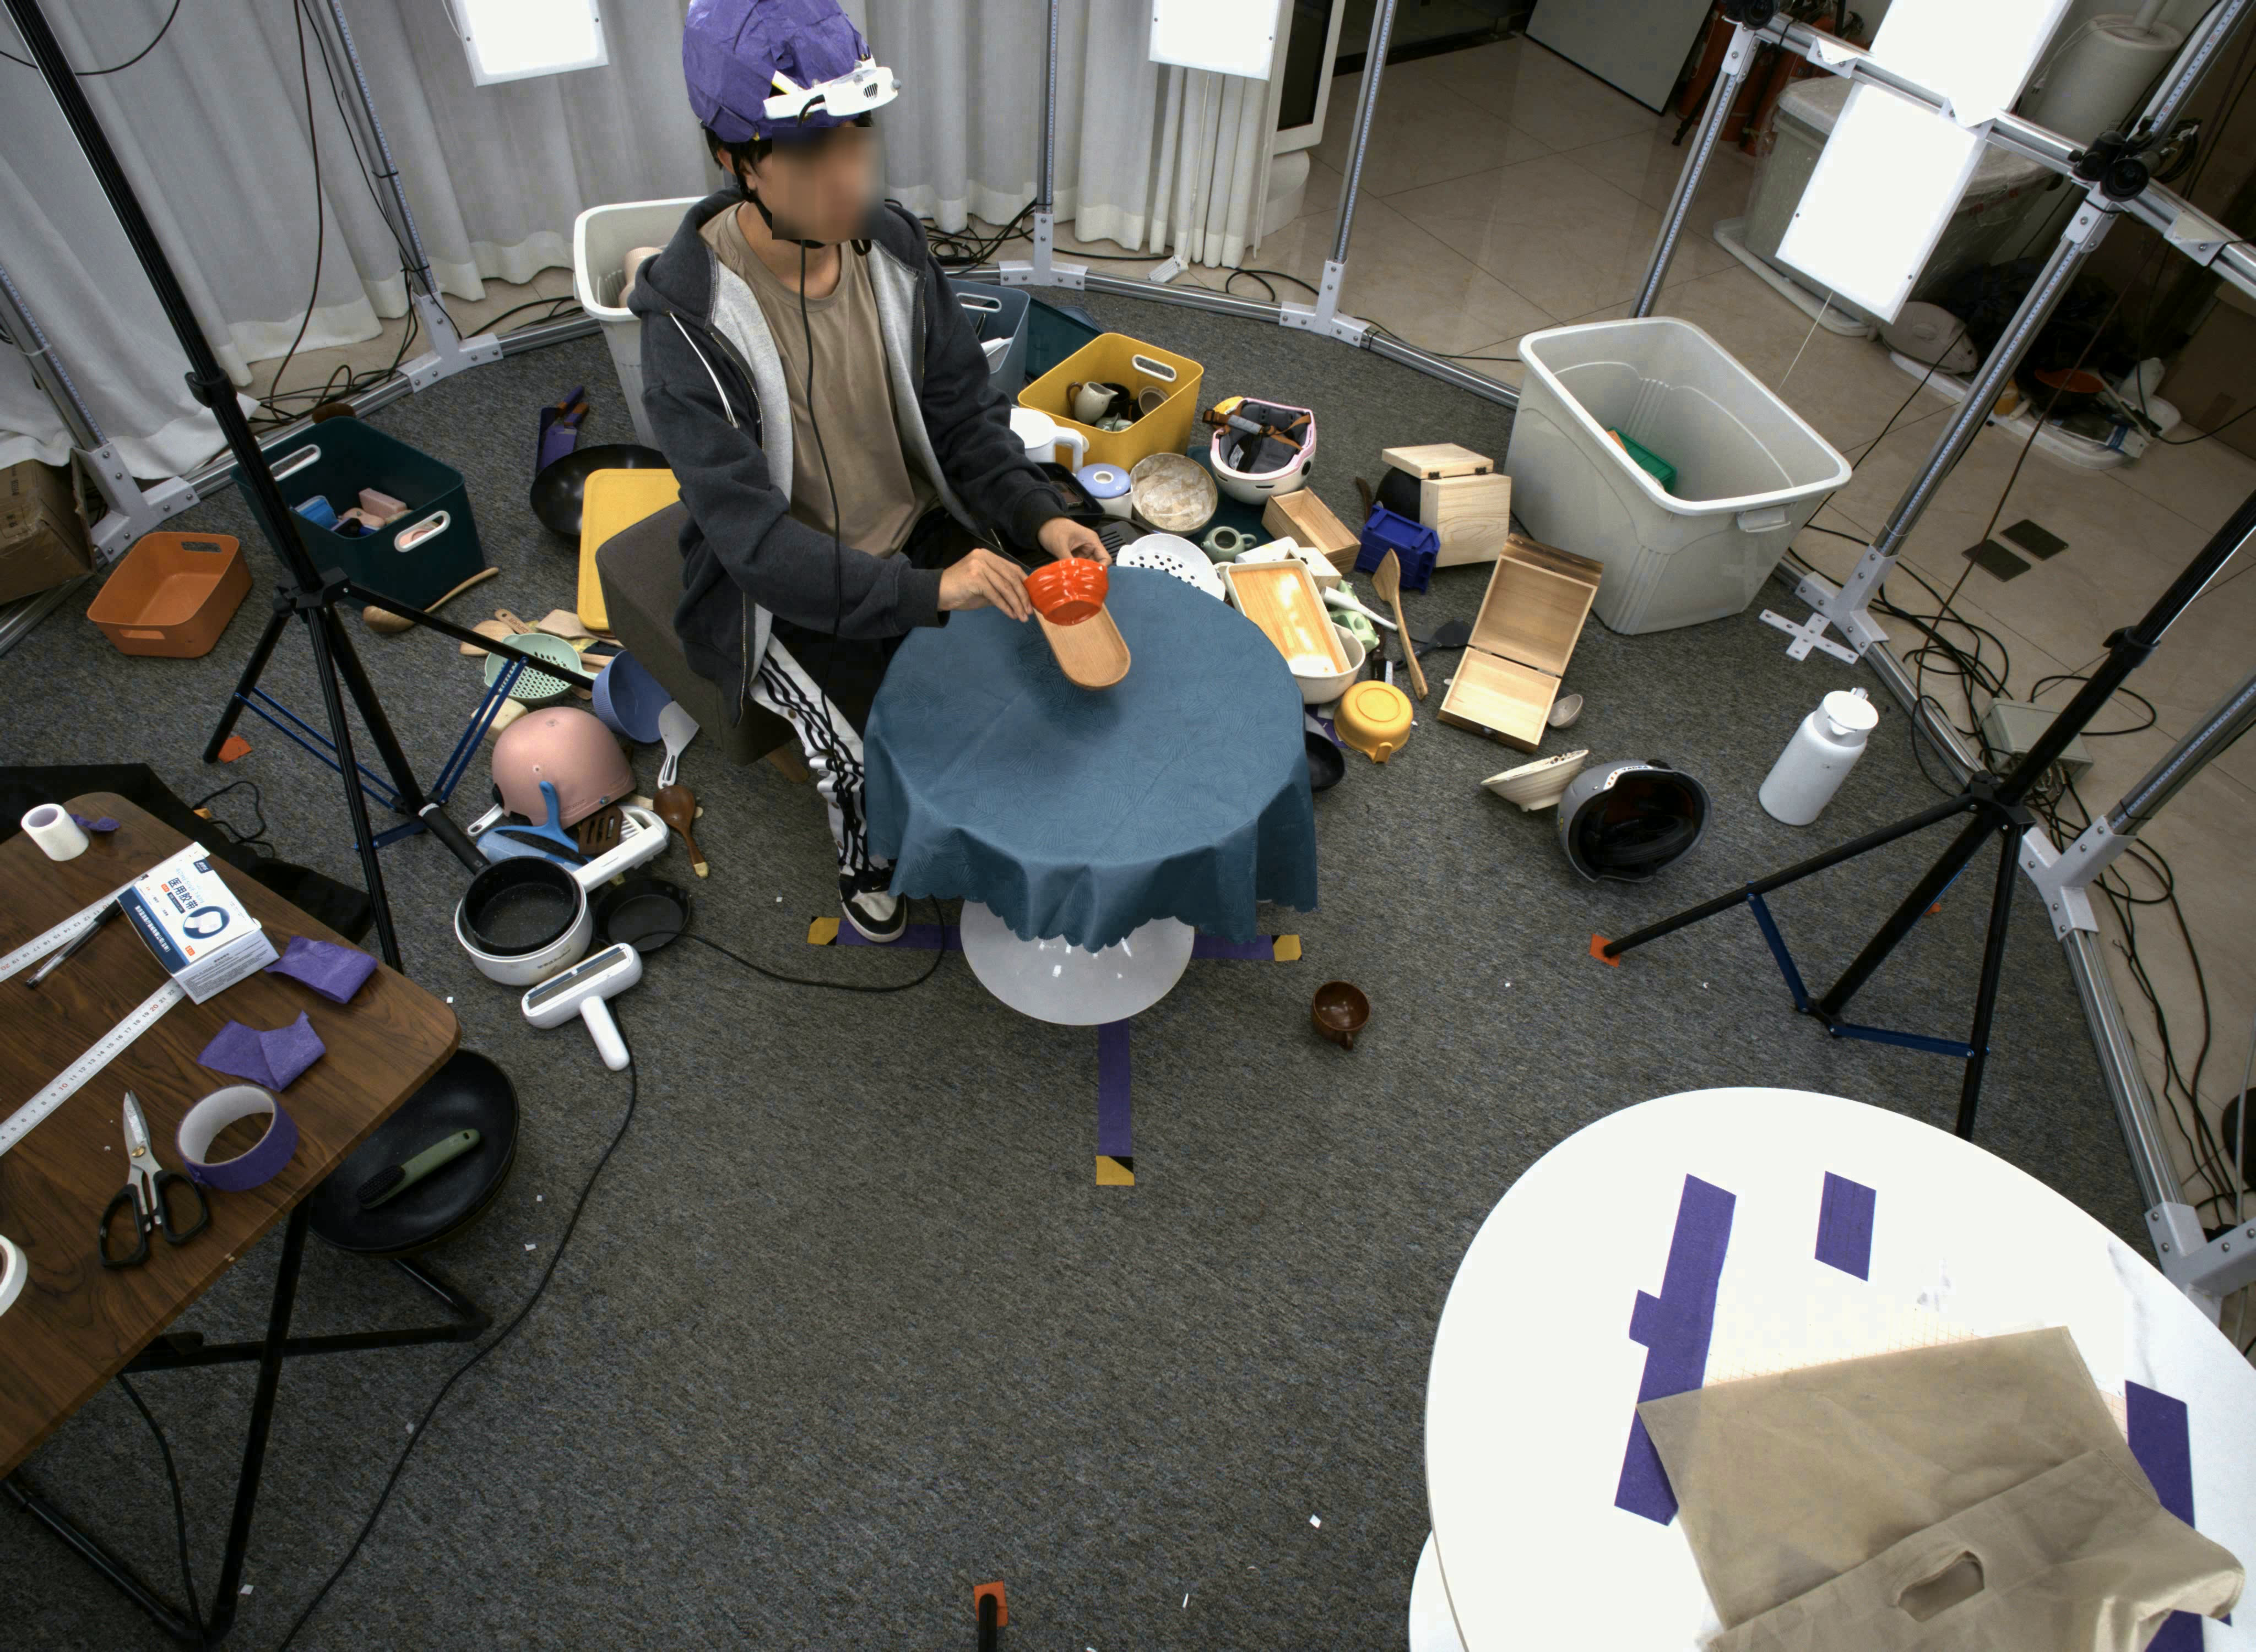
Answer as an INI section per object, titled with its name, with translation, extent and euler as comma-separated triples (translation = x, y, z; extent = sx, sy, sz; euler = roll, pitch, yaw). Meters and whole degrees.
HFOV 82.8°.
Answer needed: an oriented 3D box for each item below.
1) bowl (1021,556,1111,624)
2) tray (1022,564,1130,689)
[bowl]
translation = -0.076, -0.302, 1.678
extent = 0.119, 0.117, 0.052
euler = -8, 76, -12
[tray]
translation = -0.074, -0.285, 1.822
extent = 0.102, 0.020, 0.236
euler = -17, 59, -18
